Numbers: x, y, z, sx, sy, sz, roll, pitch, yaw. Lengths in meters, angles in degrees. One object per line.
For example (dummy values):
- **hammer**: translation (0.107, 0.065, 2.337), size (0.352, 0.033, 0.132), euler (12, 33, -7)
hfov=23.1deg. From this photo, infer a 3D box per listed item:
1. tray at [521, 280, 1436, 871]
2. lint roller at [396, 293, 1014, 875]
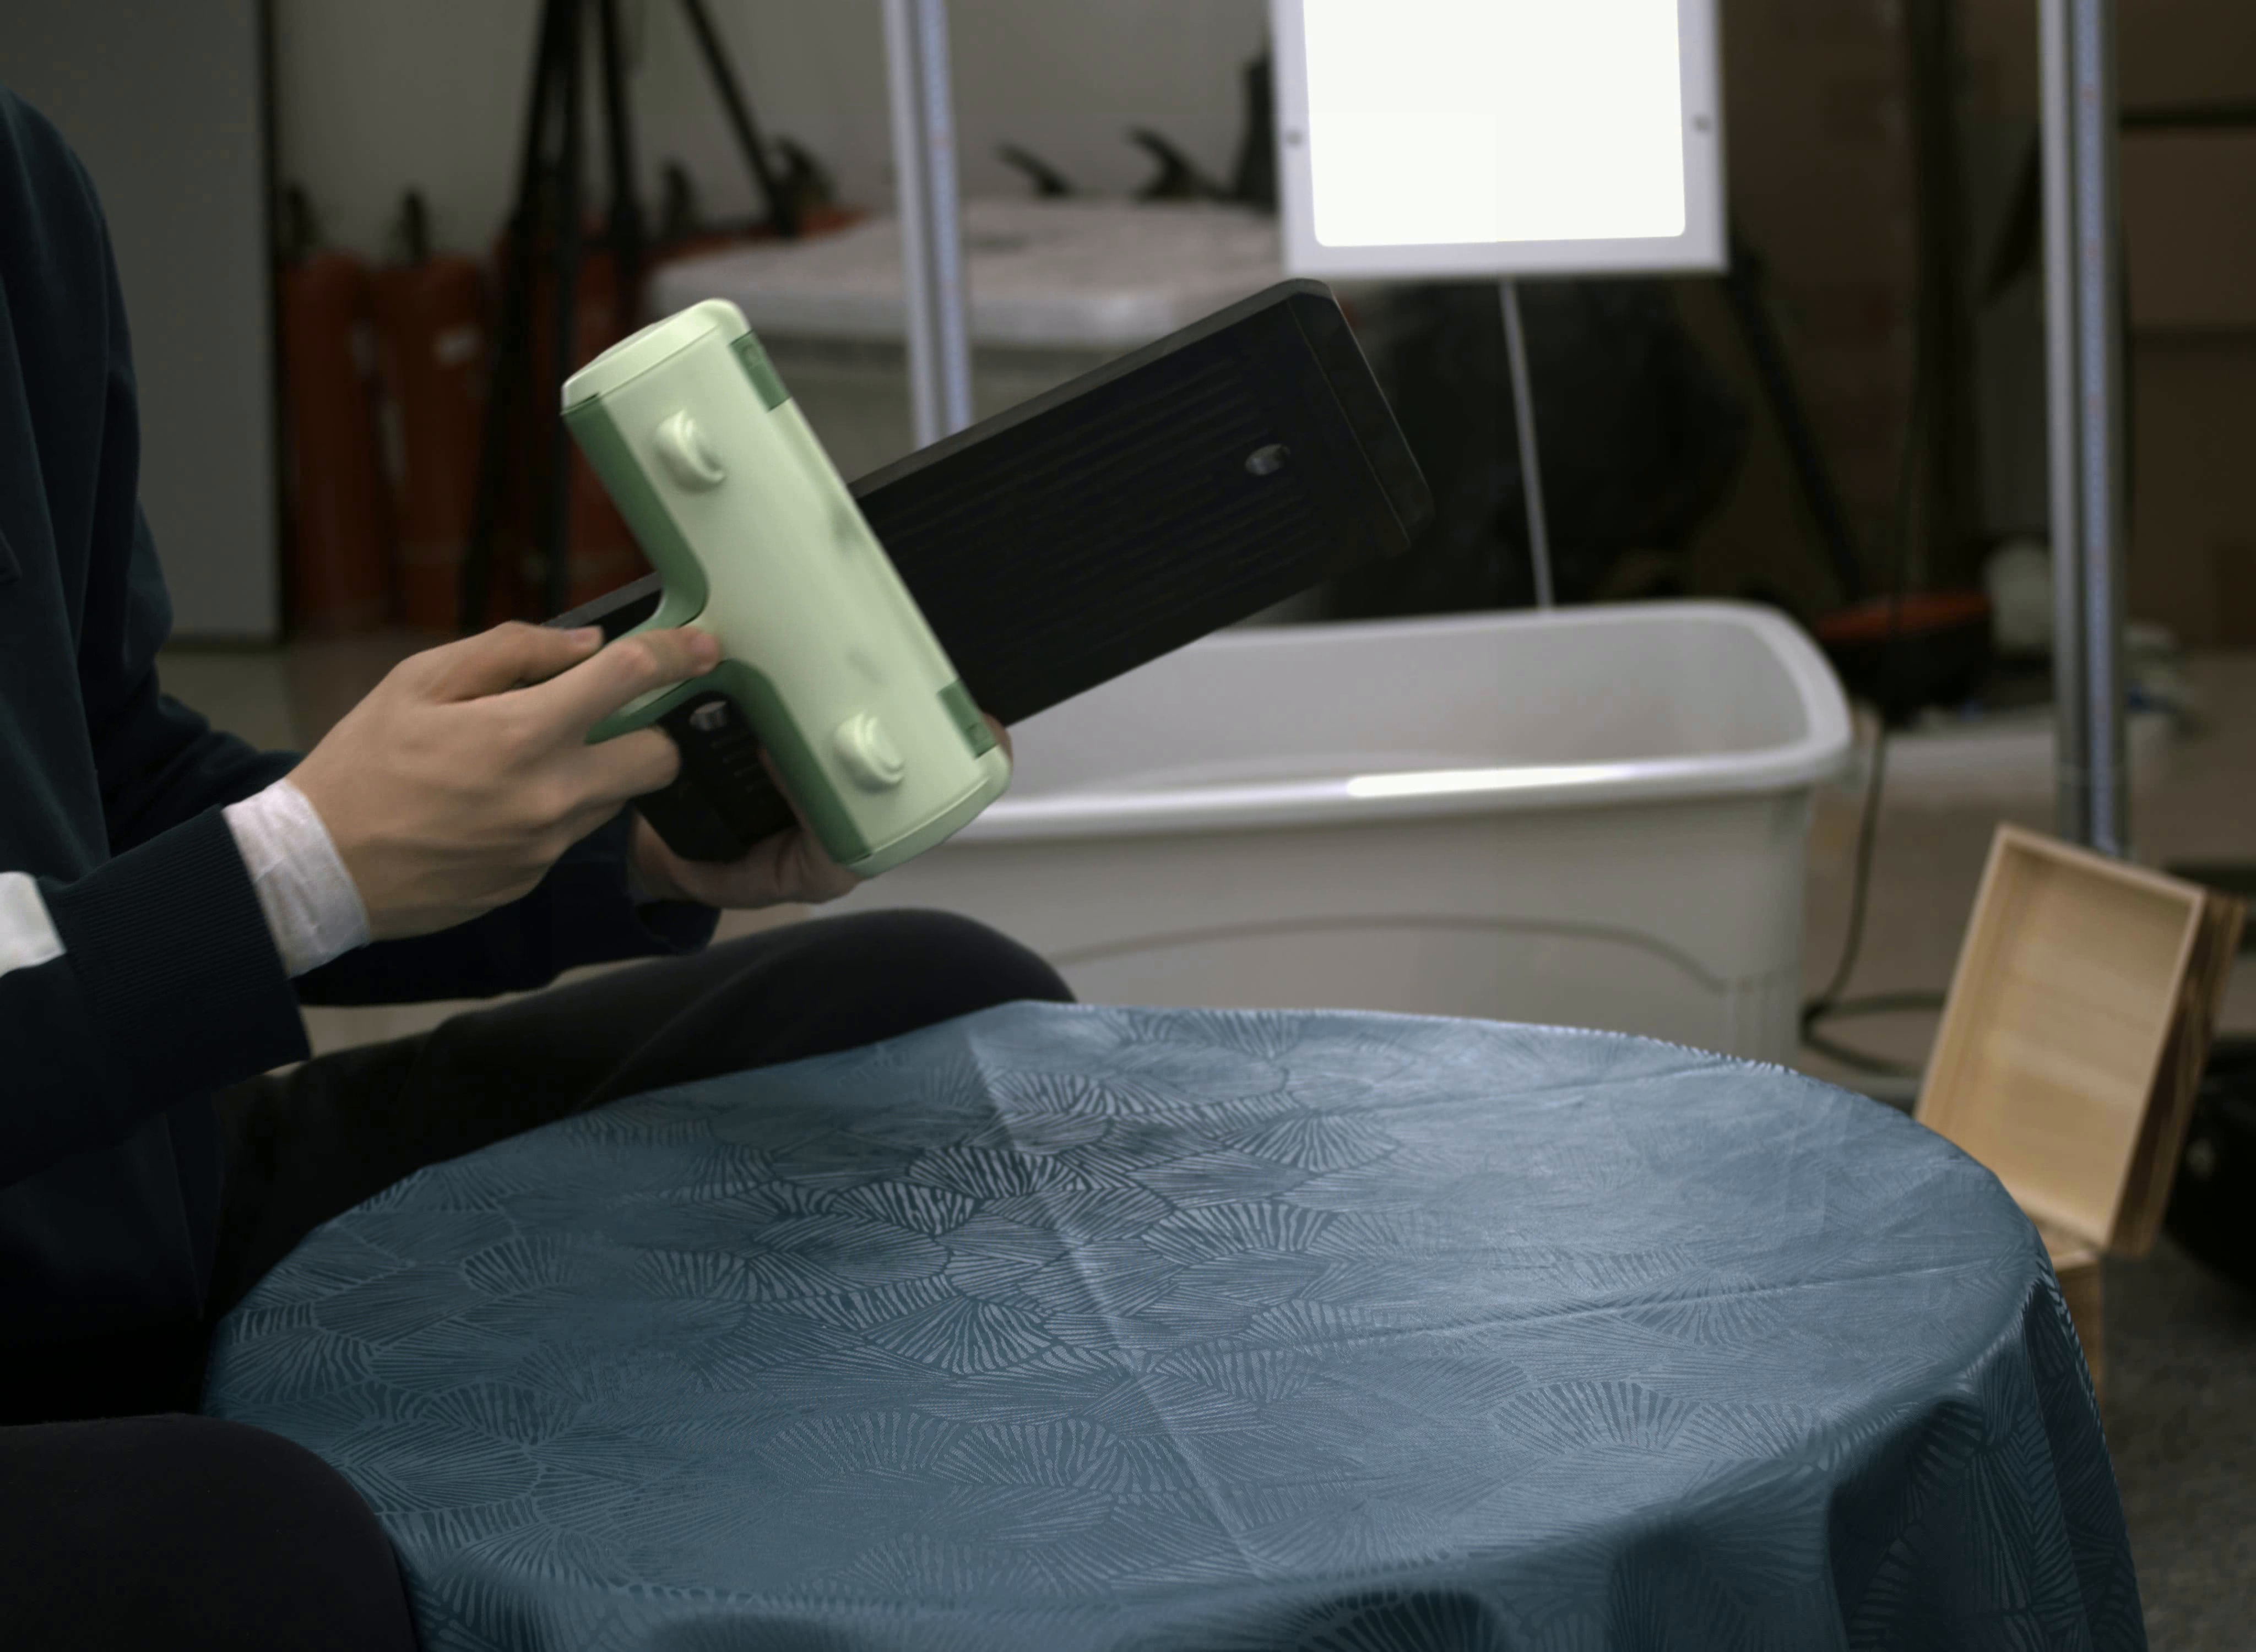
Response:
- **tray**: translation (-0.047, -0.080, 1.924), size (0.307, 0.019, 0.168), euler (-25, -32, 7)
- **lint roller**: translation (-0.158, -0.049, 1.818), size (0.181, 0.198, 0.083), euler (-33, 8, -12)
